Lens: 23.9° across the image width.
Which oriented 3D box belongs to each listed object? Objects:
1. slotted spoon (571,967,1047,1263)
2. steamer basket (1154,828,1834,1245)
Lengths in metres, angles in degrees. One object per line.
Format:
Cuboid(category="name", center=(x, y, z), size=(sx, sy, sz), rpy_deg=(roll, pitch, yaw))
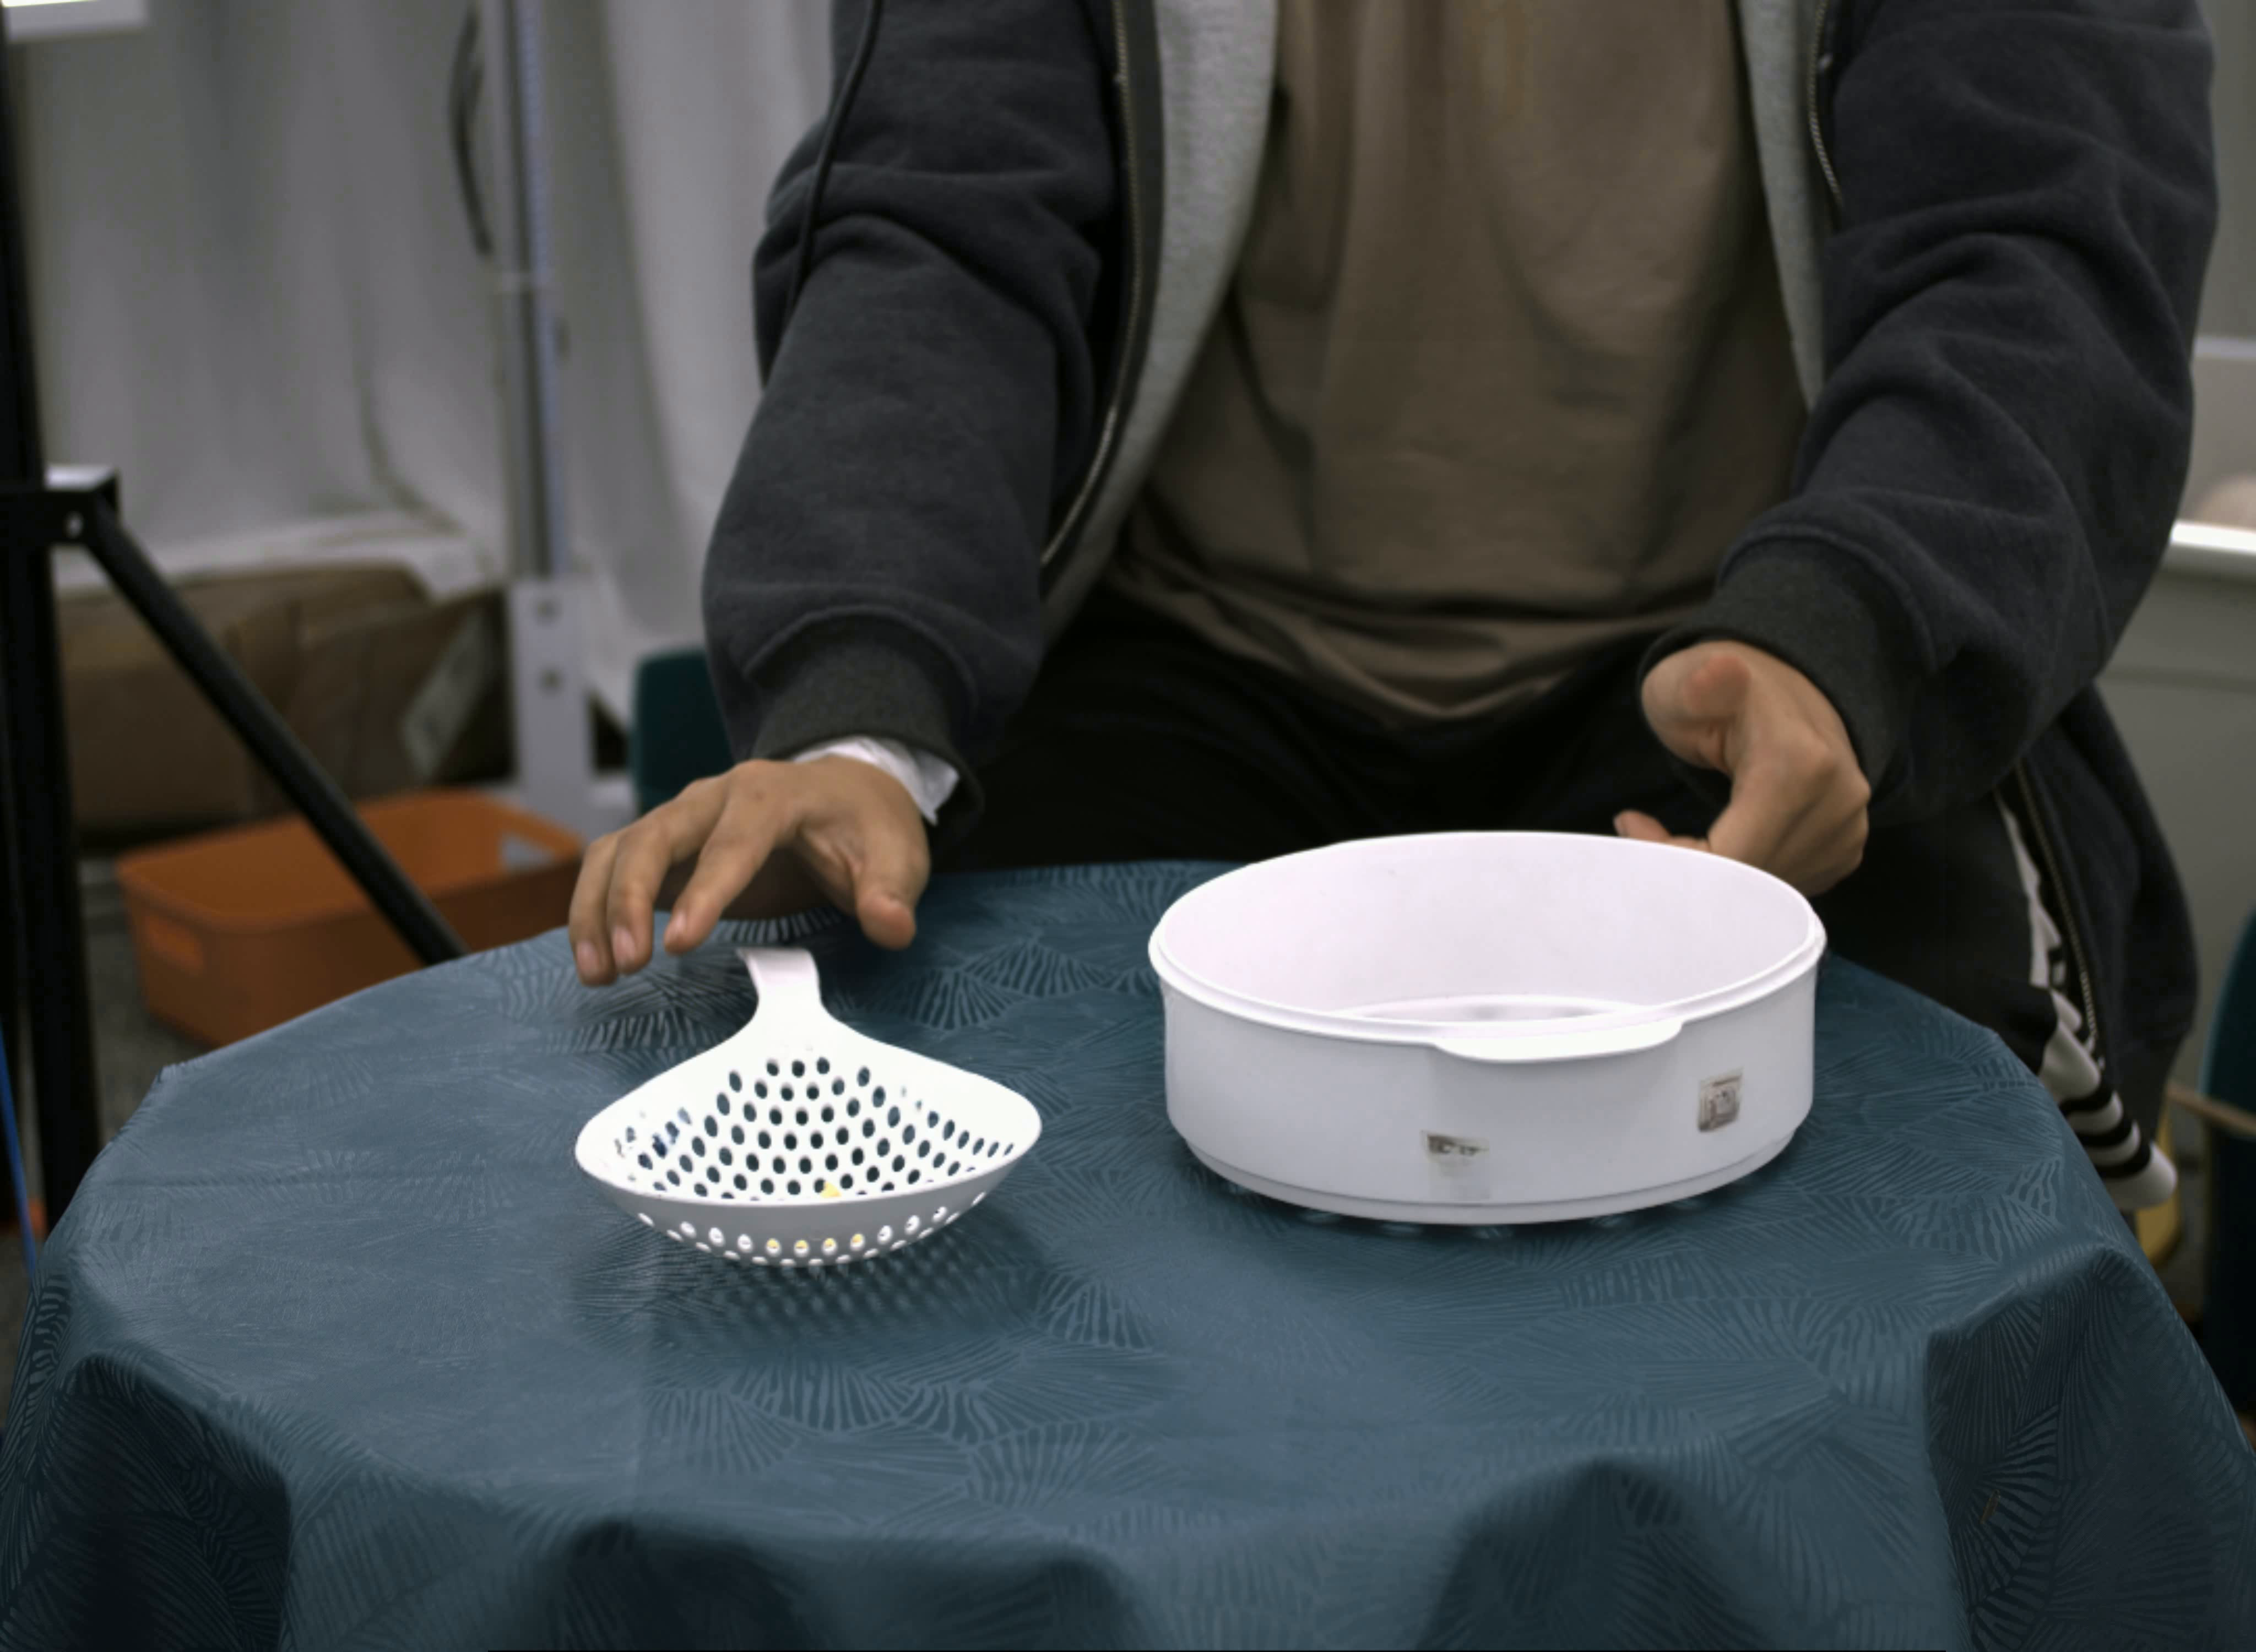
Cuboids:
Cuboid(category="slotted spoon", center=(-0.103, 0.074, 1.625), size=(0.136, 0.050, 0.351), rpy_deg=(-7, 16, -5))
Cuboid(category="steamer basket", center=(0.109, 0.062, 1.579), size=(0.200, 0.069, 0.233), rpy_deg=(-4, 18, -7))
